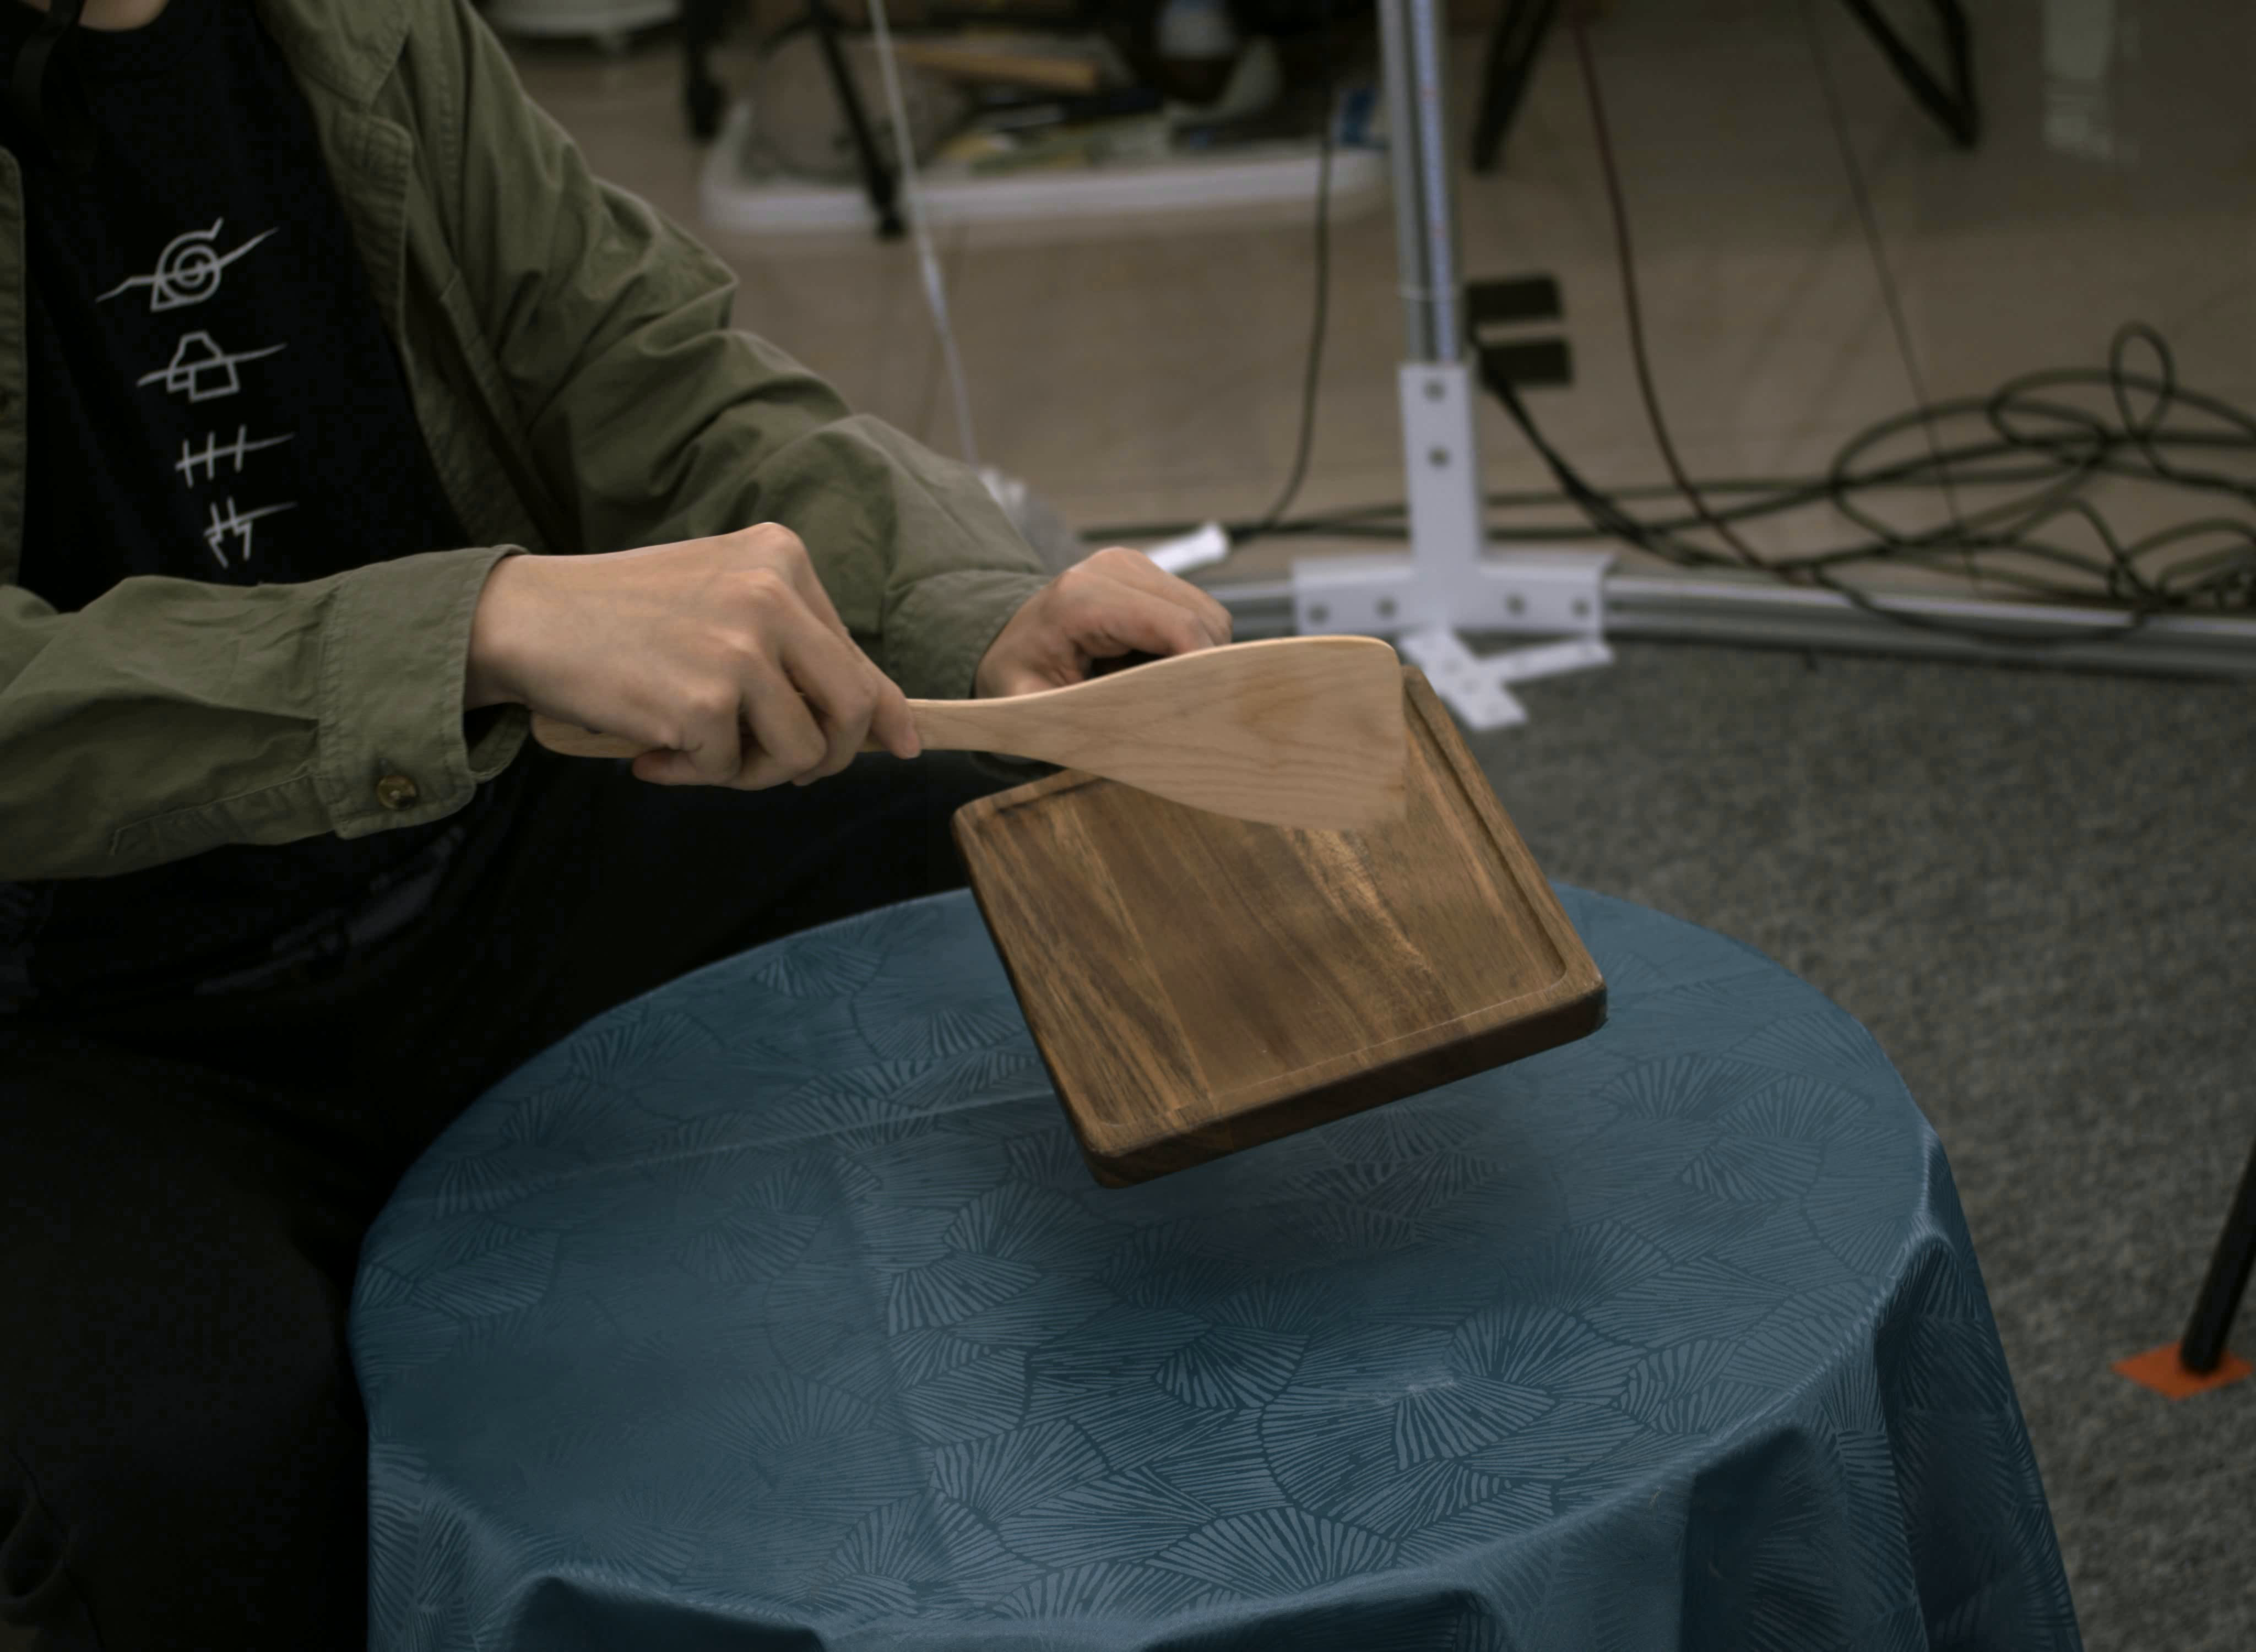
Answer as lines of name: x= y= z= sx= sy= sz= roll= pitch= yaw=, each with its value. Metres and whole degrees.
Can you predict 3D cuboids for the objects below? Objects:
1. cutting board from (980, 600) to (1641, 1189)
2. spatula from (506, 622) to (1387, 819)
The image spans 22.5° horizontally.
cutting board: x=0.053 y=0.006 z=2.161 sx=0.200 sy=0.023 sz=0.346 roll=-17 pitch=34 yaw=-3
spatula: x=-0.061 y=-0.037 z=2.039 sx=0.327 sy=0.081 sz=0.016 roll=-1 pitch=29 yaw=-15
